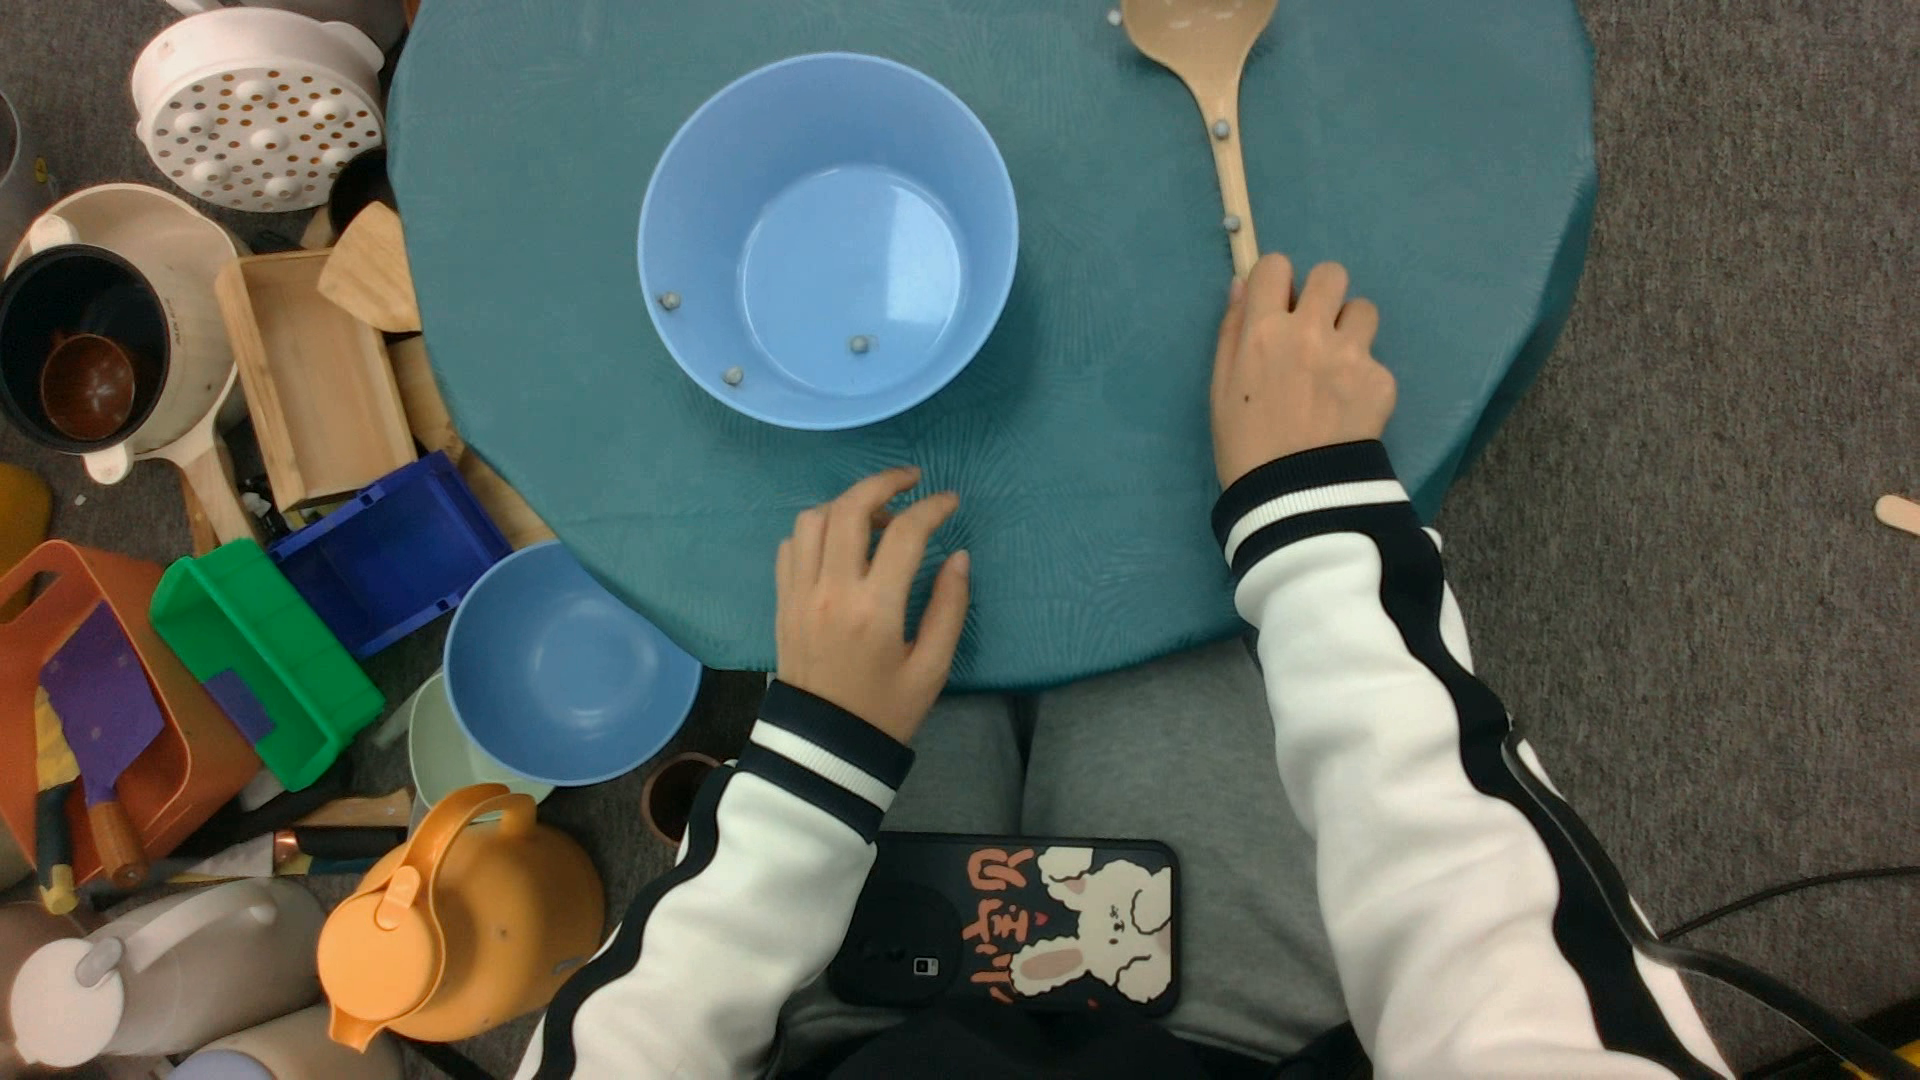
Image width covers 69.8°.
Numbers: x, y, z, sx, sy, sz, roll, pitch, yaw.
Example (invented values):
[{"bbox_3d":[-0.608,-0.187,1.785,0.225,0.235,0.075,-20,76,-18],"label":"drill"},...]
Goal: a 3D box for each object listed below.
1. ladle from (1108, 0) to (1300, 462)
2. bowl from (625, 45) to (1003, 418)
[{"bbox_3d":[0.125,-0.165,0.638,0.072,0.073,0.254,-12,82,8],"label":"ladle"},{"bbox_3d":[-0.064,-0.138,0.655,0.176,0.070,0.176,-1,82,7],"label":"bowl"}]
